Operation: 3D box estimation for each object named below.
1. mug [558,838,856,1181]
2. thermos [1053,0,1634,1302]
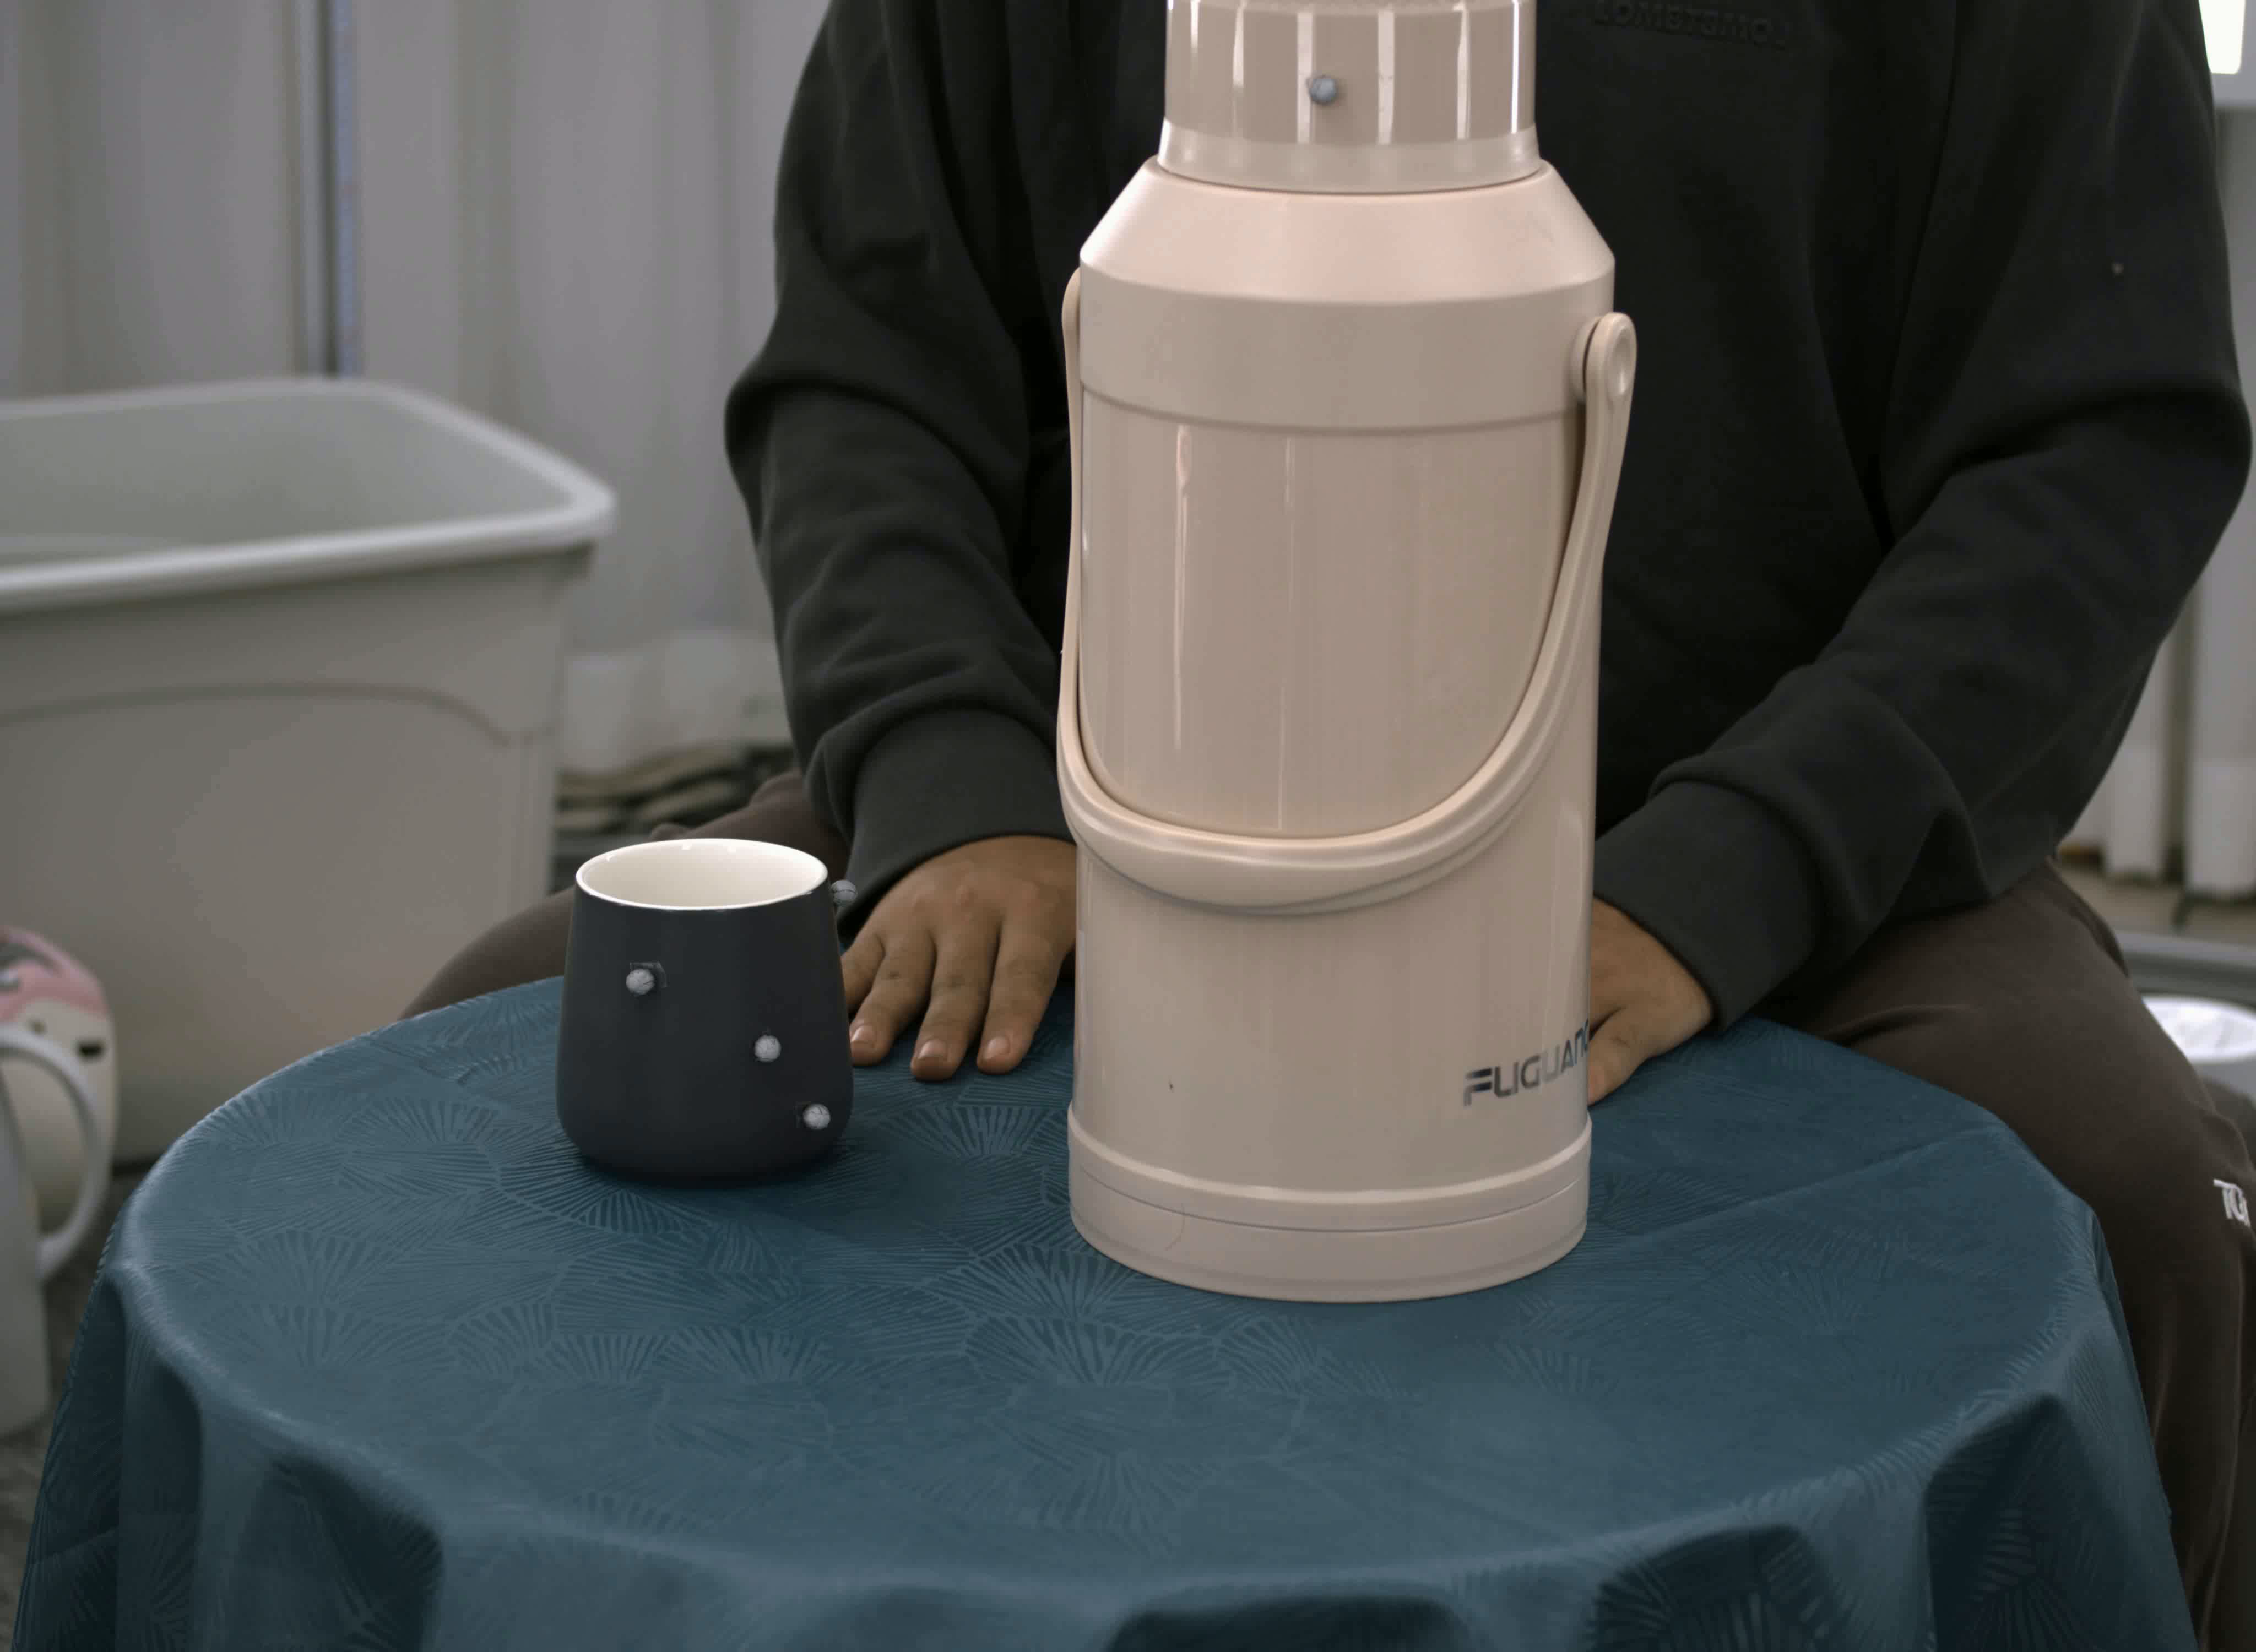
[{"bbox_3d":[-0.127,0.054,1.661,0.092,0.090,0.123,6,17,19],"label":"mug"},{"bbox_3d":[0.069,-0.077,1.566,0.173,0.410,0.207,8,18,26],"label":"thermos"}]
